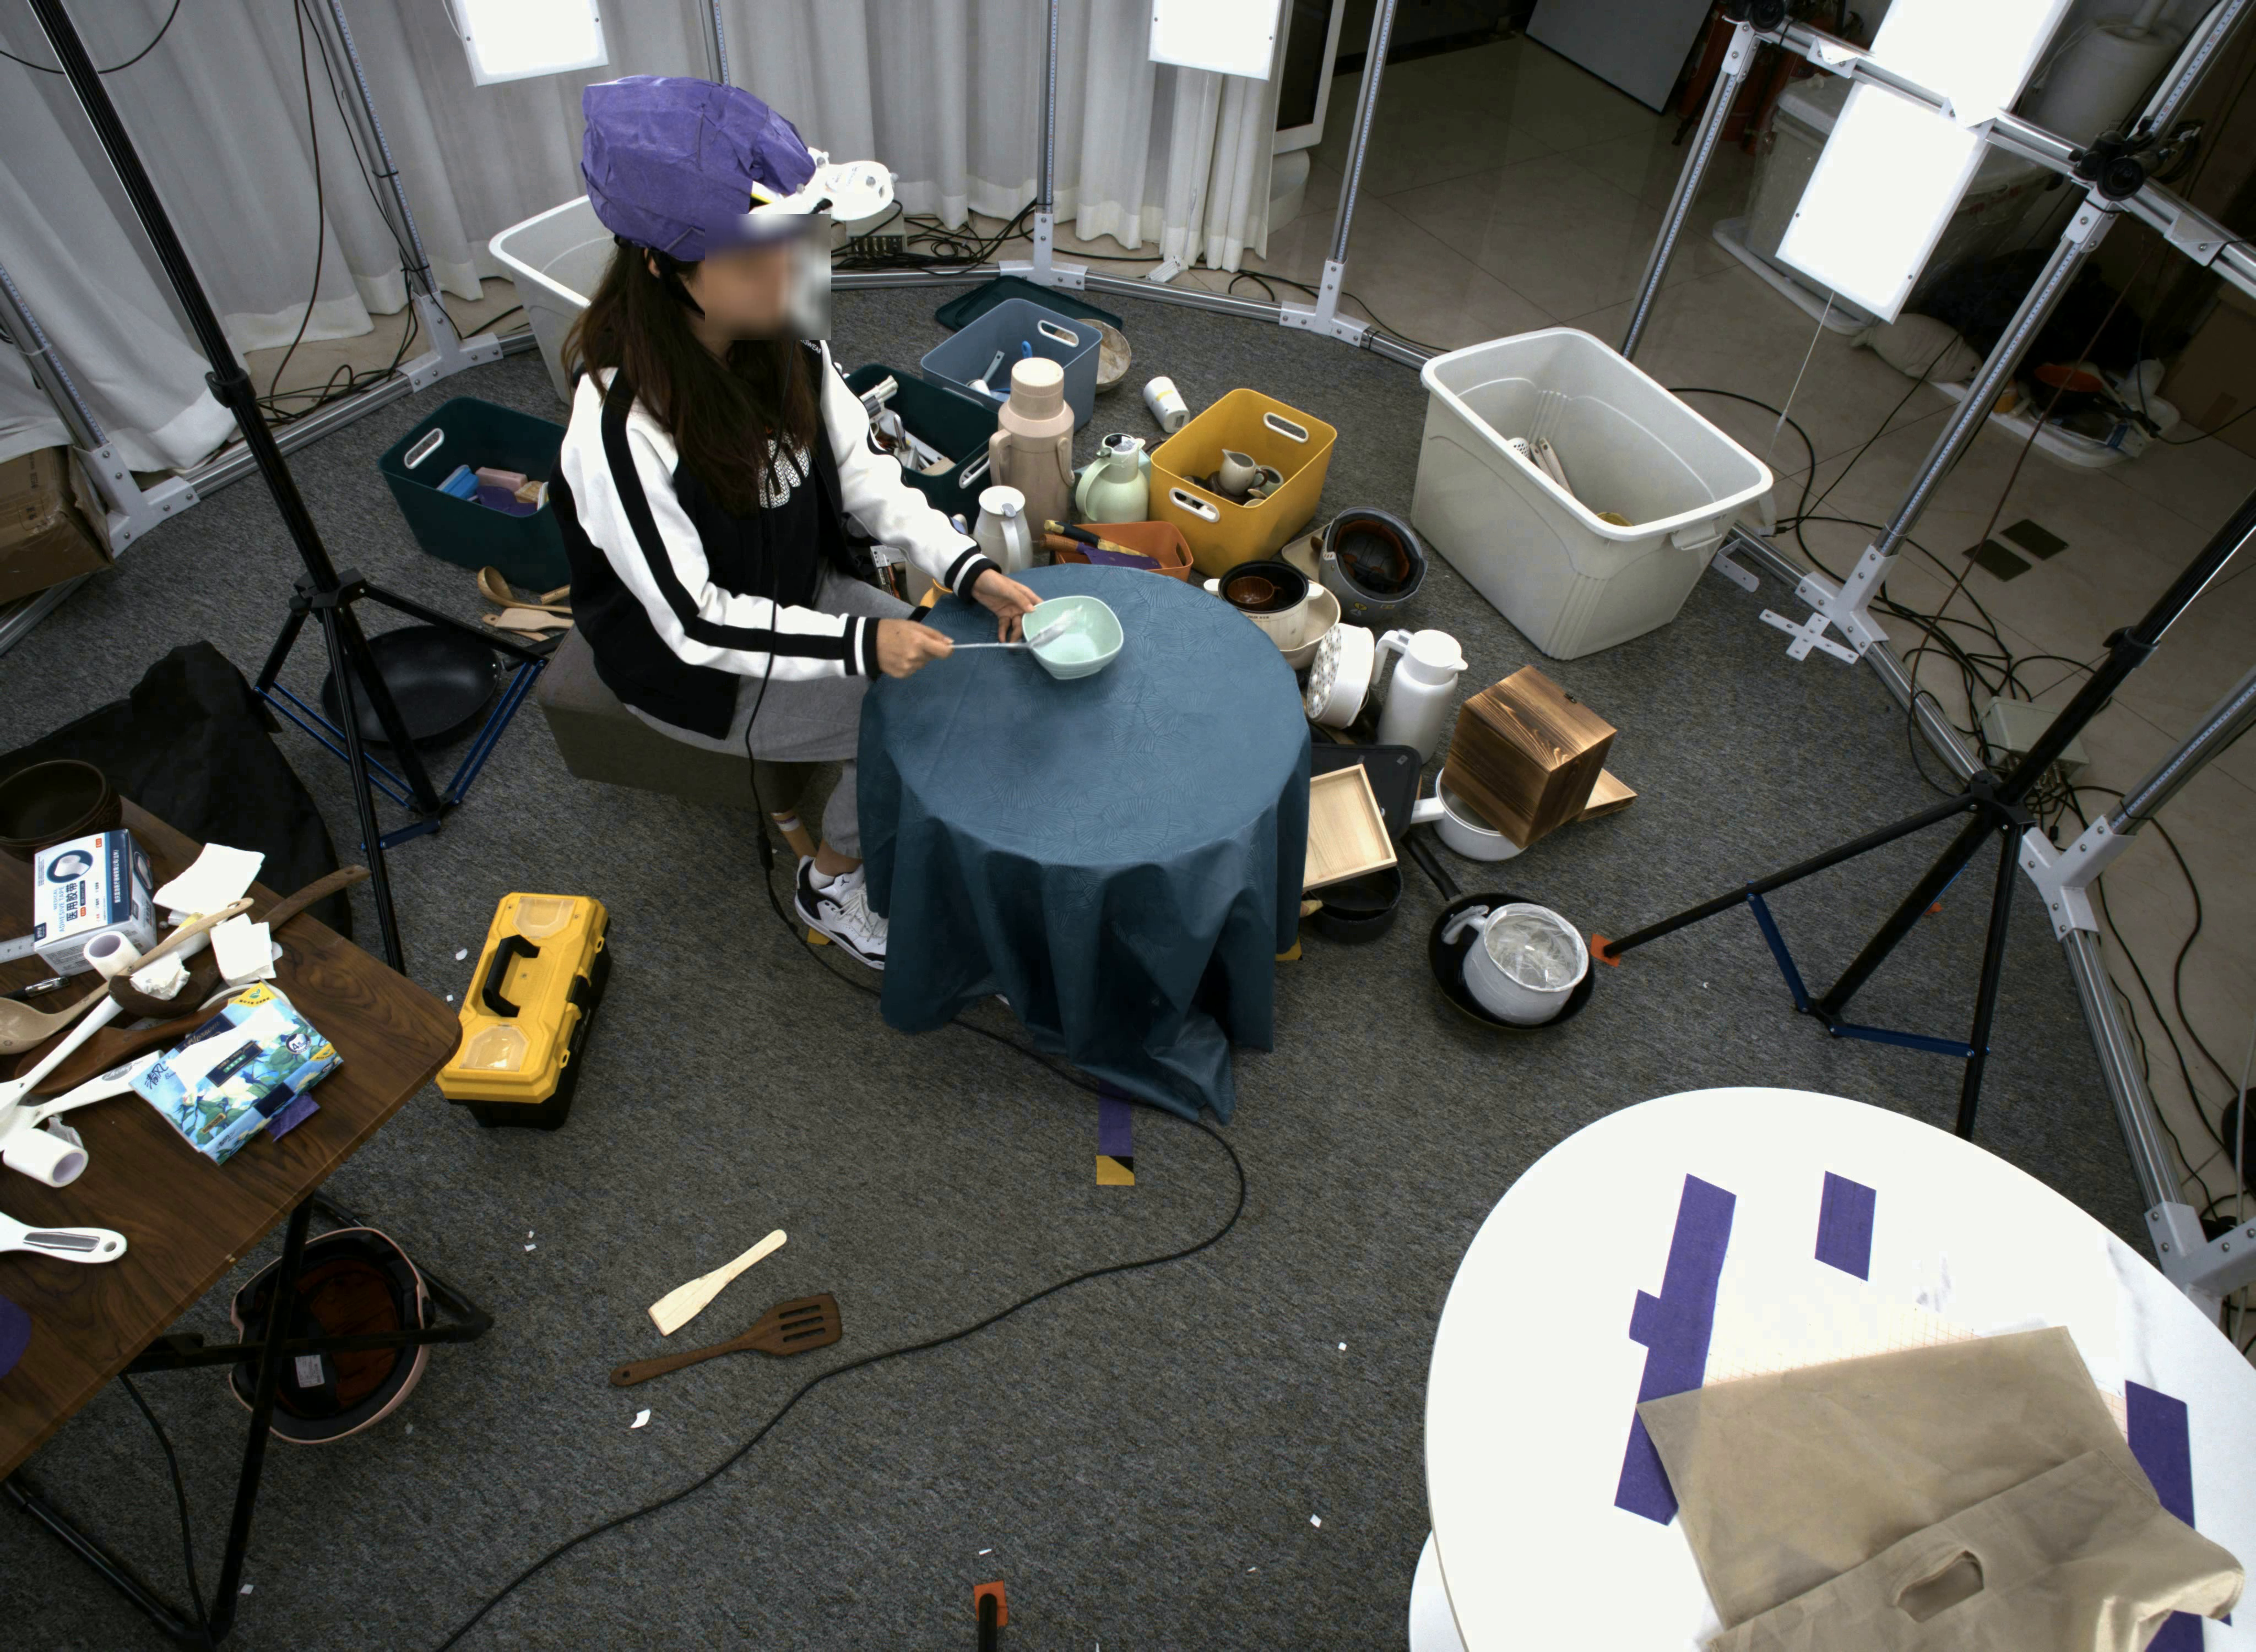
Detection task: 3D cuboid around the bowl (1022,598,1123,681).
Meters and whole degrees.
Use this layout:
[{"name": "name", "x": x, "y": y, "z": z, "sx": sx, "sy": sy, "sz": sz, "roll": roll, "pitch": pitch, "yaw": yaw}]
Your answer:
[{"name": "bowl", "x": -0.081, "y": -0.262, "z": 1.857, "sx": 0.151, "sy": 0.057, "sz": 0.155, "roll": 2, "pitch": 49, "yaw": -3}]

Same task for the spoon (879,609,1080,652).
[{"name": "spoon", "x": -0.201, "y": -0.265, "z": 1.737, "sx": 0.278, "sy": 0.059, "sz": 0.101, "roll": 2, "pitch": 6, "yaw": 10}]
